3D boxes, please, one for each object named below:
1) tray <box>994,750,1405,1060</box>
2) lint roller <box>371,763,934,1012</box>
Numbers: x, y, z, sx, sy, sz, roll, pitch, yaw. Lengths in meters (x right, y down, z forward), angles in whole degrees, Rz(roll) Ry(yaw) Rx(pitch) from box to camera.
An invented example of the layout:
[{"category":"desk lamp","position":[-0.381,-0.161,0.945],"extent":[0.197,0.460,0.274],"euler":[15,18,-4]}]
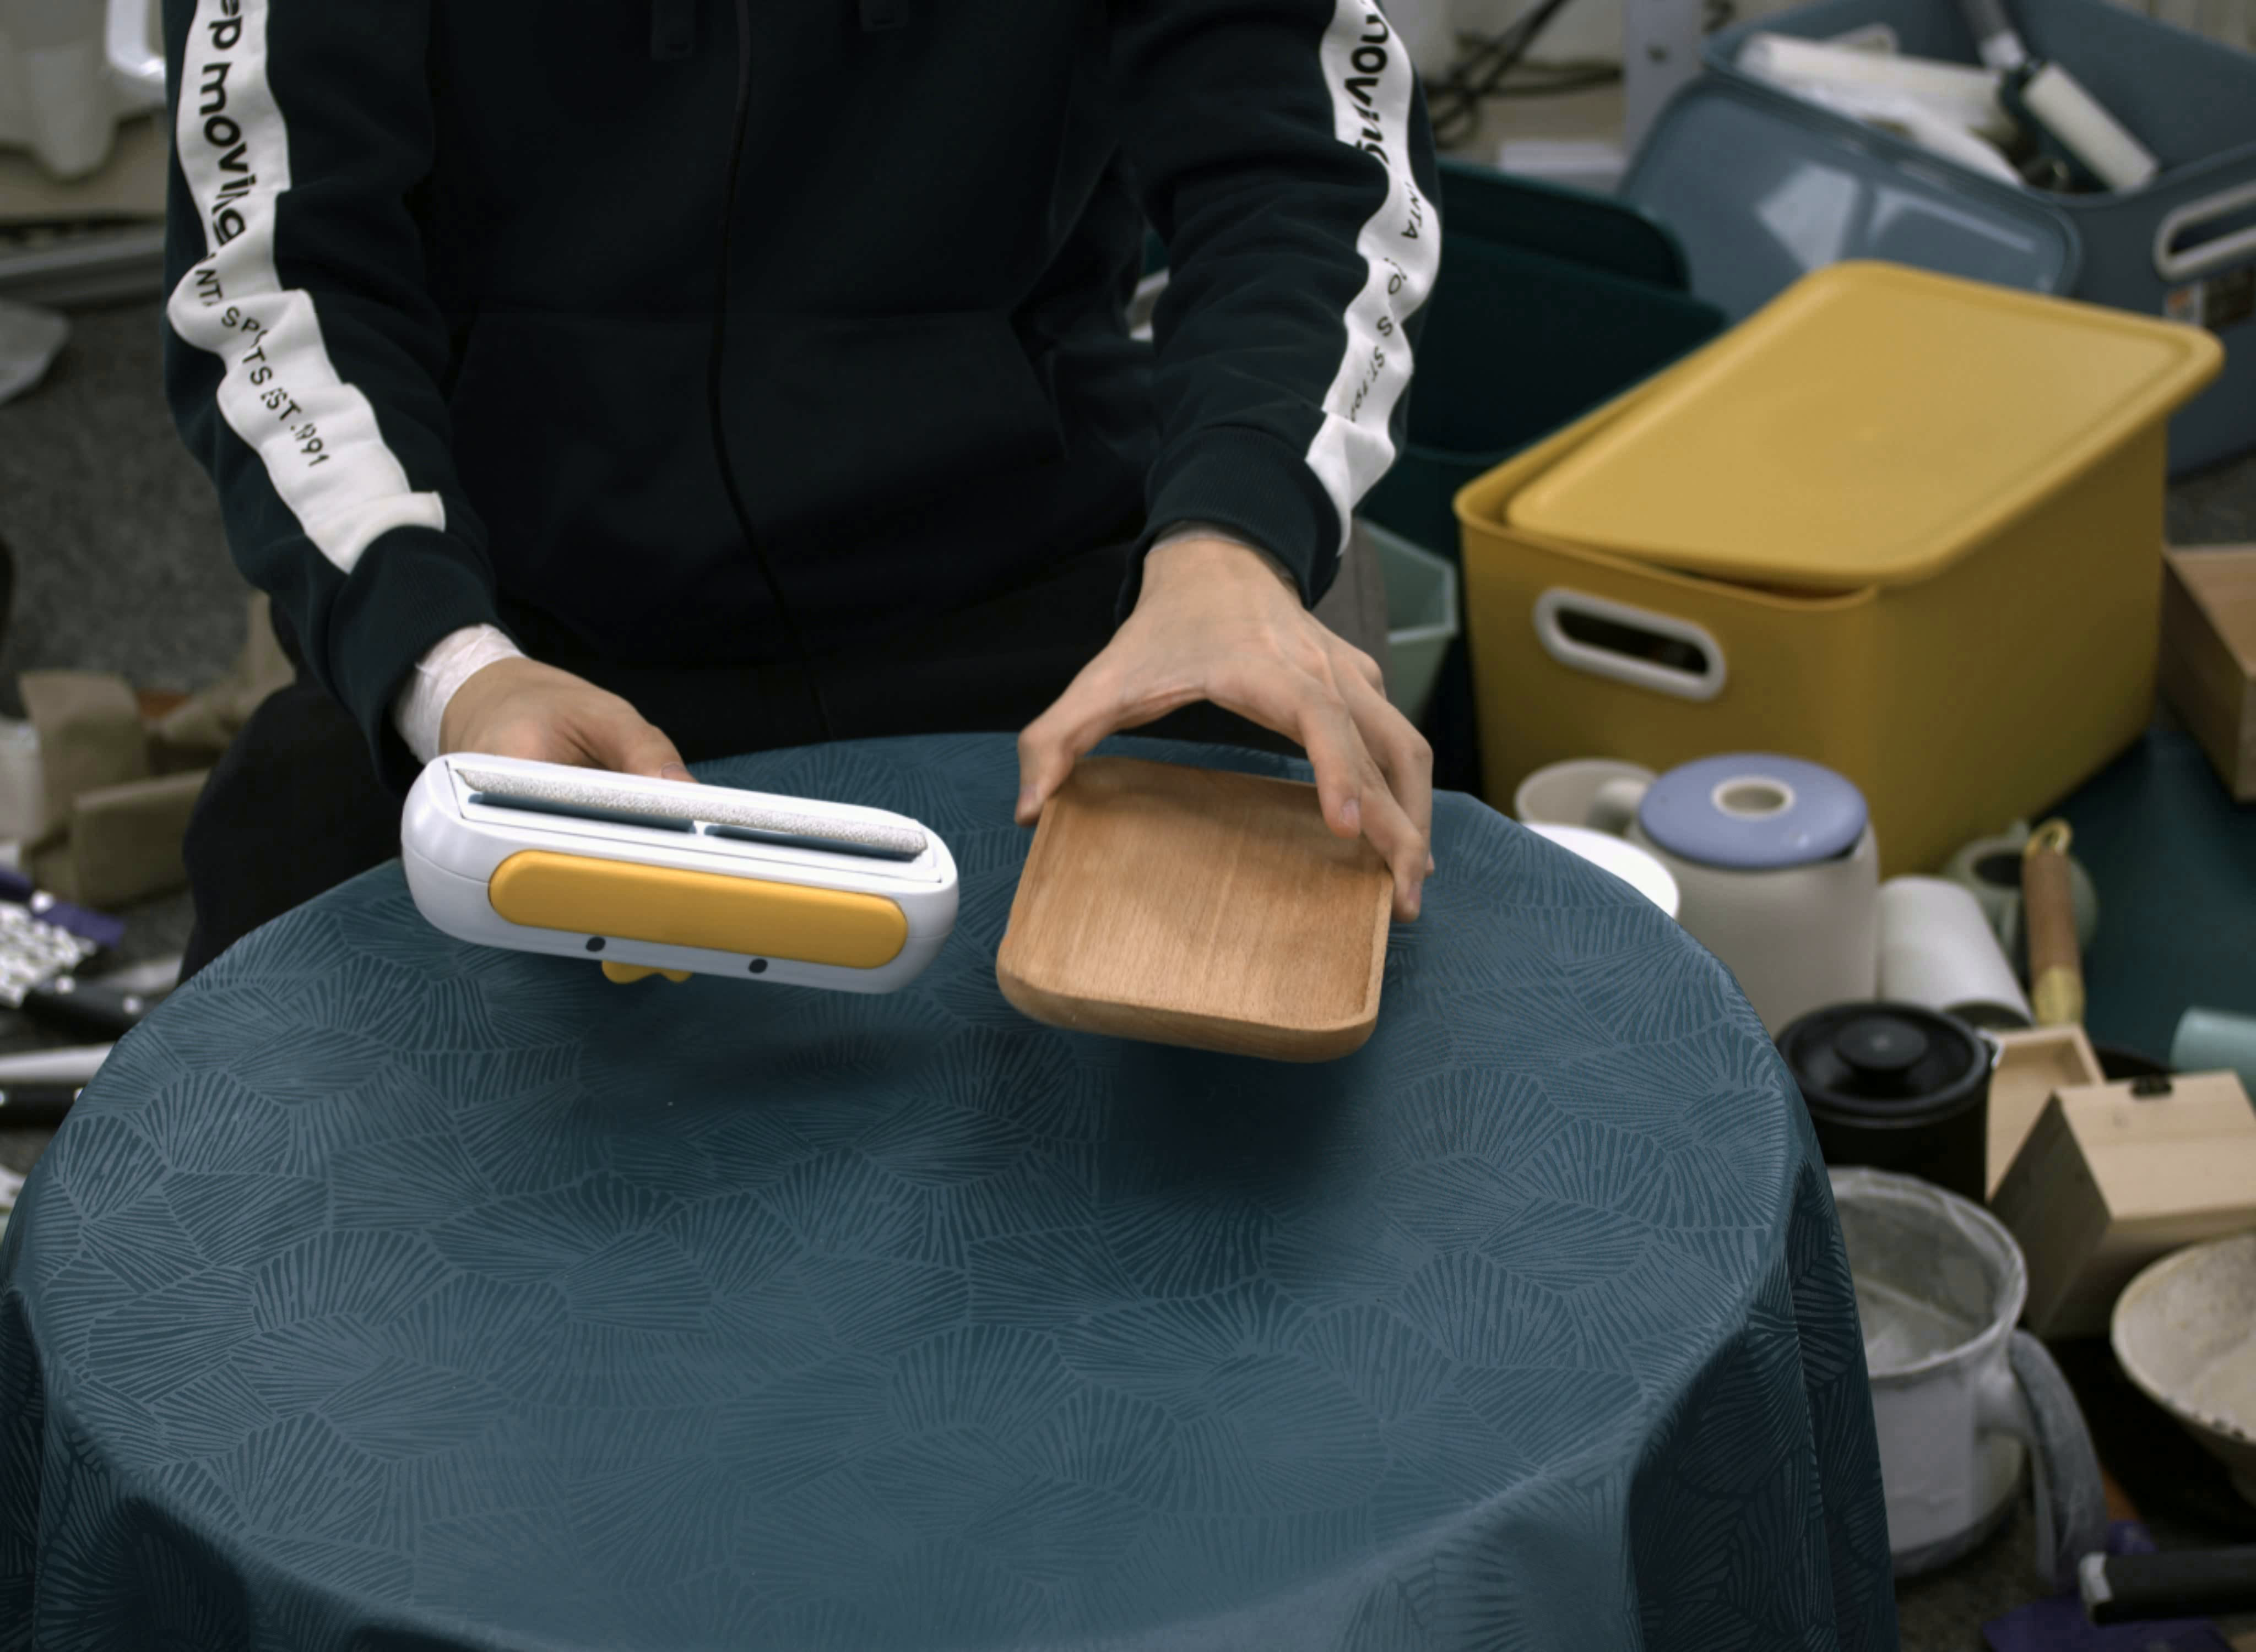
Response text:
[{"category":"tray","position":[0.027,0.025,1.927],"extent":[0.130,0.023,0.253],"euler":[12,18,2]},{"category":"lint roller","position":[-0.174,0.020,1.958],"extent":[0.192,0.074,0.192],"euler":[7,5,-14]}]
